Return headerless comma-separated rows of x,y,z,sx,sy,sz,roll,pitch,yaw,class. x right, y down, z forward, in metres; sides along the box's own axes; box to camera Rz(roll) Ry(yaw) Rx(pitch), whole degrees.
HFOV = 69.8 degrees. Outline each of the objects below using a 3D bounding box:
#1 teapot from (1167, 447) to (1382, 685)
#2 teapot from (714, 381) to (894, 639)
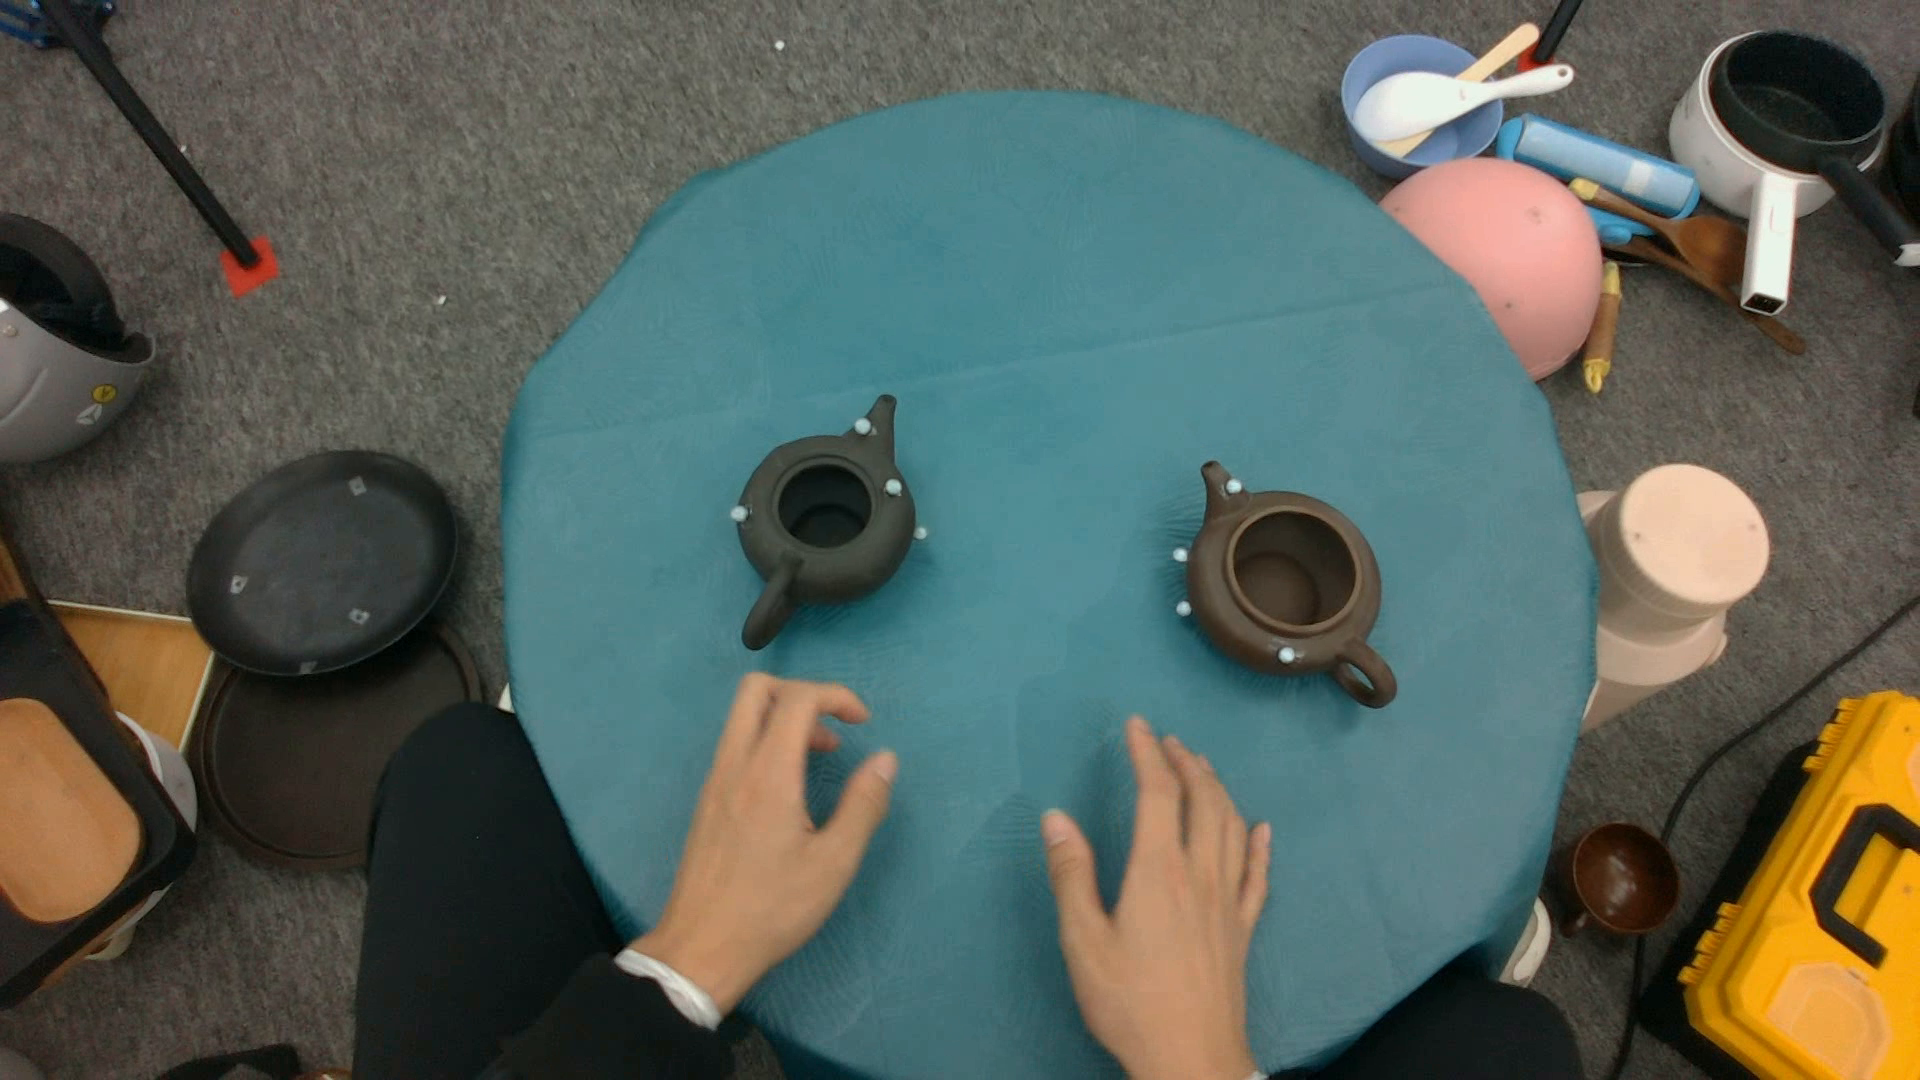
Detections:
0.164,0.016,0.729,0.103,0.053,0.153,-40,74,-15,teapot
-0.082,-0.014,0.721,0.092,0.064,0.155,25,68,9,teapot
